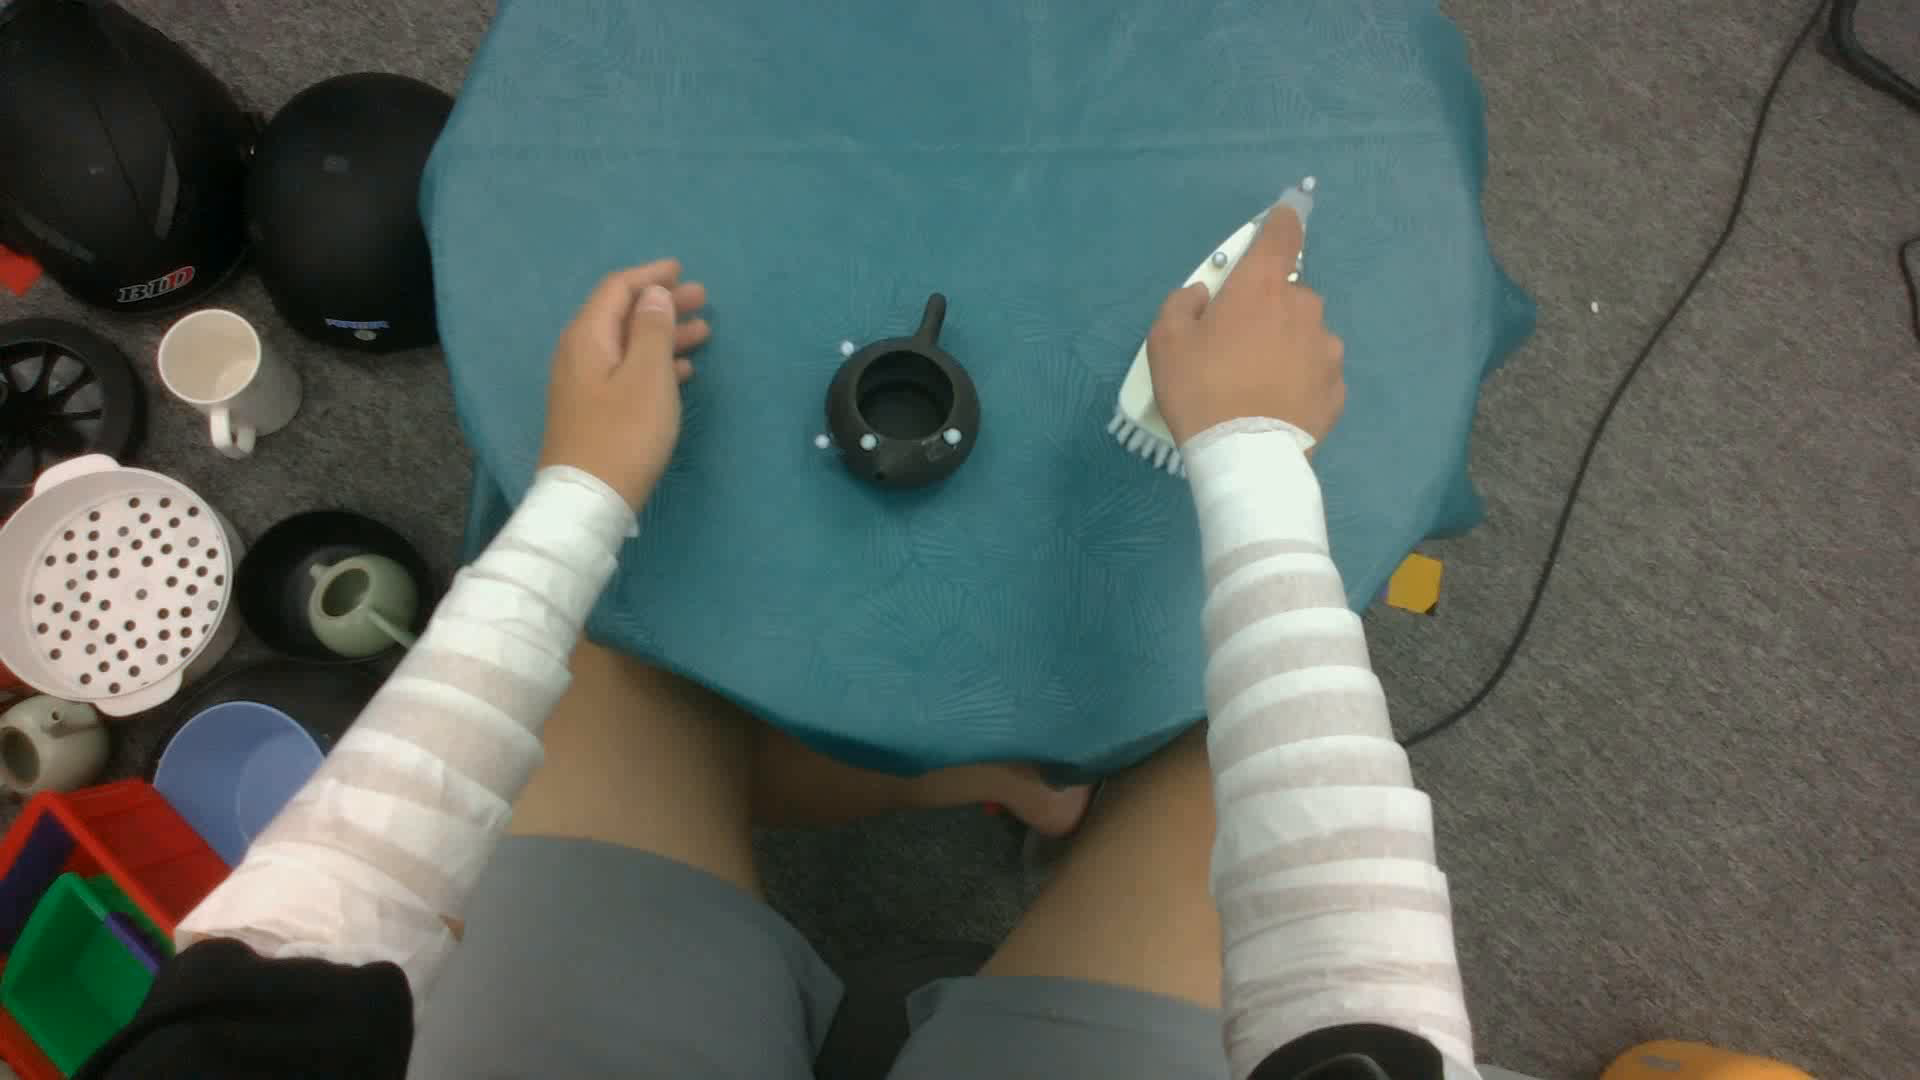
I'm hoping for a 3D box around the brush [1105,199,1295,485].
[{"bbox_3d":[0.144,-0.122,0.751,0.061,0.094,0.176,29,73,0],"label":"brush"}]

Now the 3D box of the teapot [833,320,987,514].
[{"bbox_3d":[-0.024,-0.066,0.743,0.083,0.053,0.114,16,76,0],"label":"teapot"}]
